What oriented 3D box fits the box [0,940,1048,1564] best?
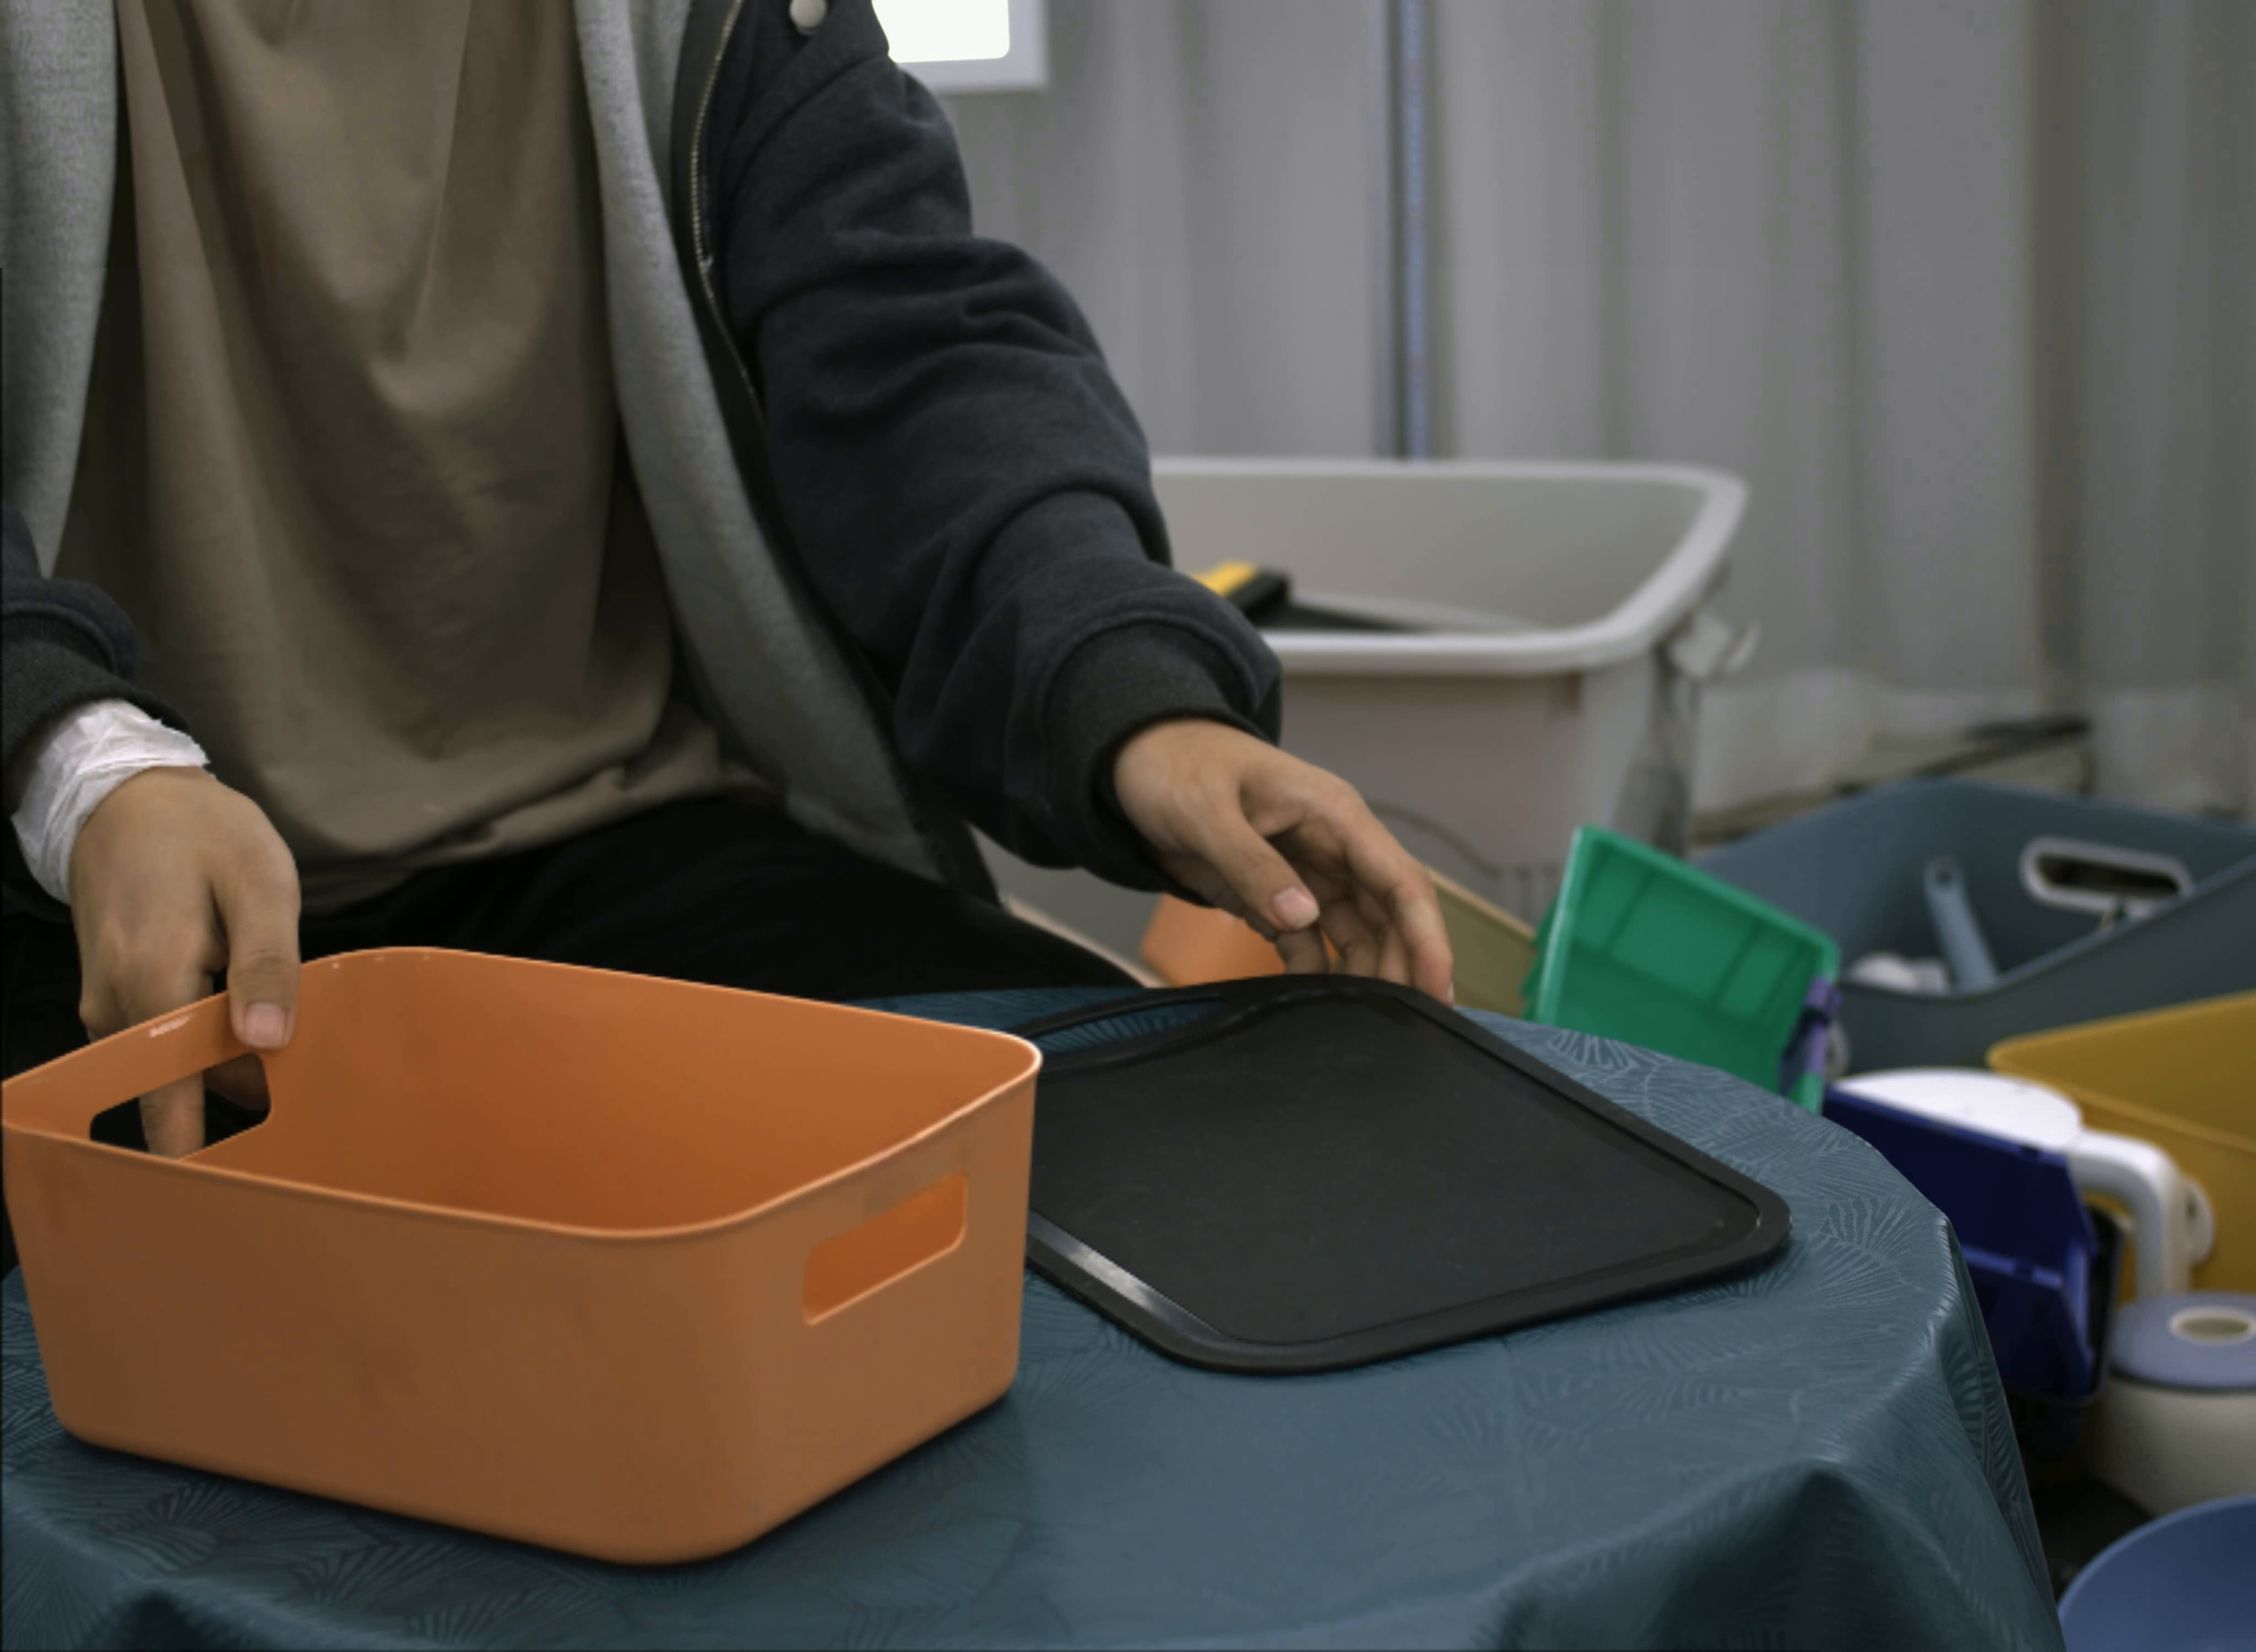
[{"bbox_3d":[-0.168,0.116,1.541,0.274,0.102,0.199,7,18,33],"label":"box"}]

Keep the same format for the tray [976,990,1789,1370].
[{"bbox_3d":[0.048,0.103,1.716,0.210,0.010,0.328,-12,18,-24],"label":"tray"}]
